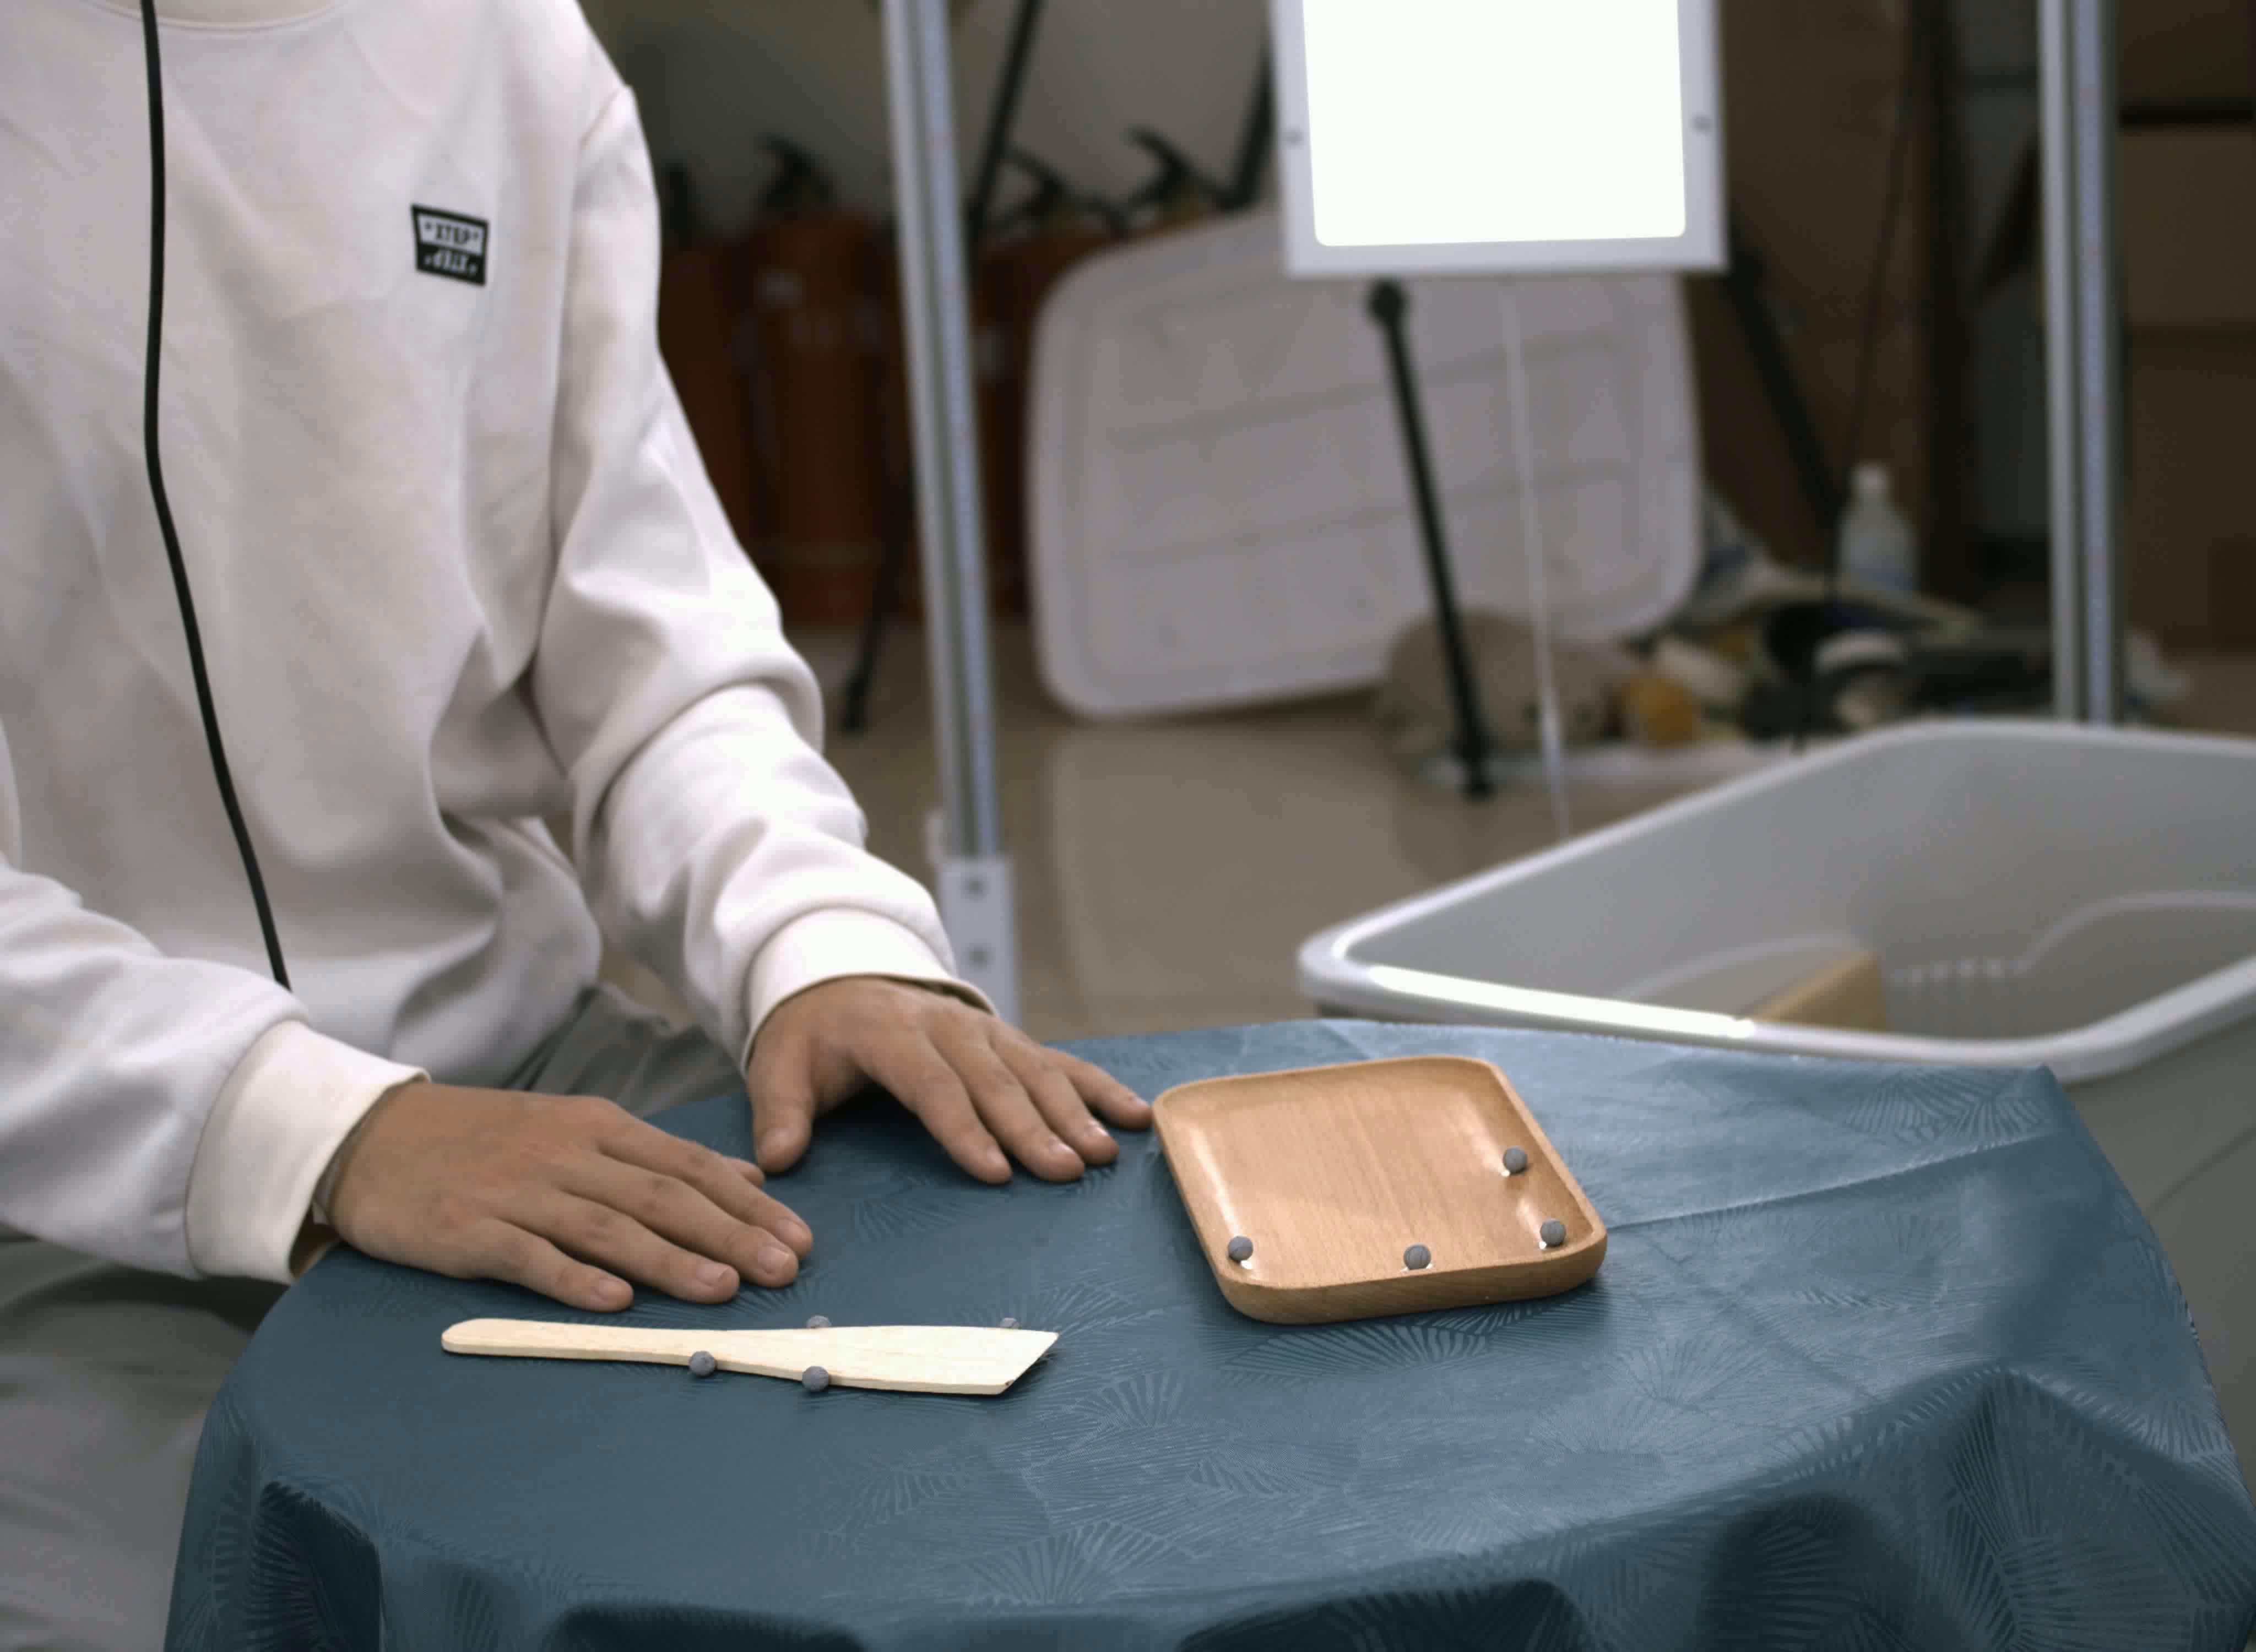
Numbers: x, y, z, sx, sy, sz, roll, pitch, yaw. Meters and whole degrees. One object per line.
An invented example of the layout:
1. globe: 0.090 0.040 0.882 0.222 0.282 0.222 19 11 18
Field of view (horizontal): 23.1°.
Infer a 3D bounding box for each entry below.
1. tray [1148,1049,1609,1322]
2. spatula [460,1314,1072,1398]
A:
1. tray: 0.081 0.119 1.860 0.130 0.023 0.251 -4 13 -4
2. spatula: -0.120 0.166 1.761 0.211 0.005 0.049 2 14 24
